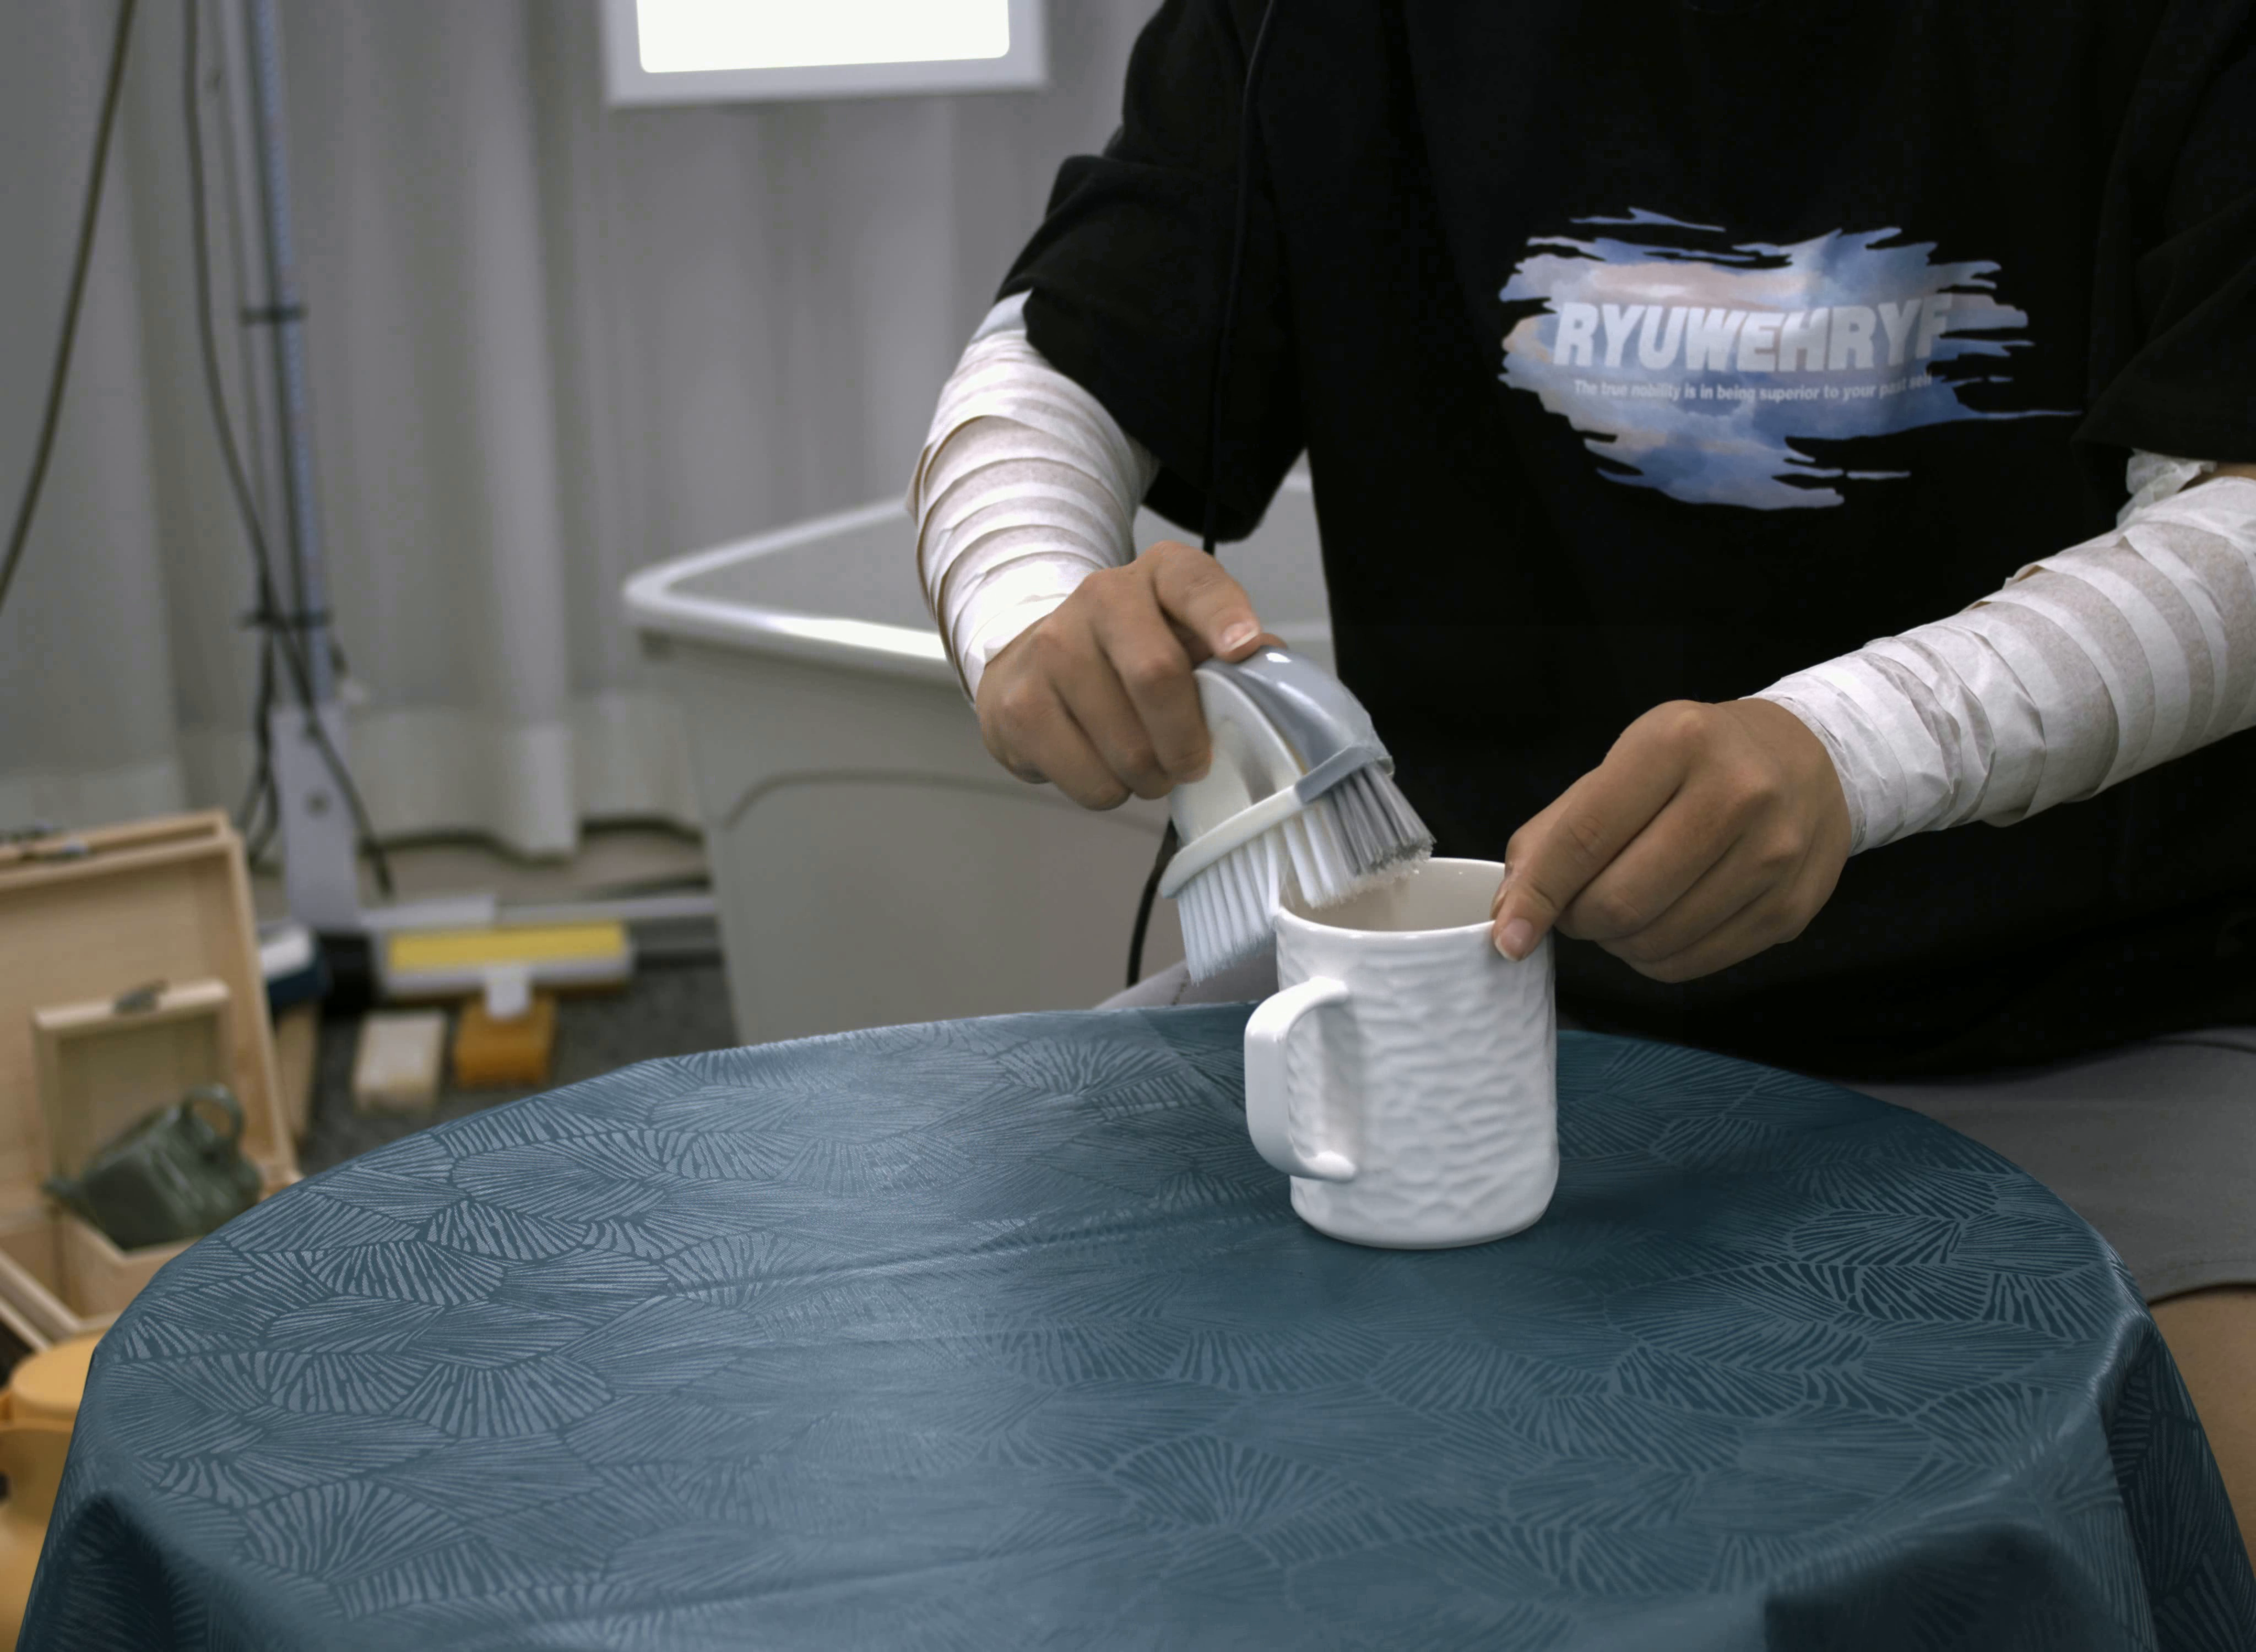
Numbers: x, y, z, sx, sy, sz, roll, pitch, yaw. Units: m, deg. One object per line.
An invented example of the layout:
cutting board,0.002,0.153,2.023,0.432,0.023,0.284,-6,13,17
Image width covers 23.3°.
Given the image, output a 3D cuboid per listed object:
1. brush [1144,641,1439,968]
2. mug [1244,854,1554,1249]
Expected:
brush,0.047,-0.016,1.695,0.061,0.094,0.175,-27,-3,-17
mug,0.077,0.073,1.658,0.085,0.101,0.118,8,18,38
